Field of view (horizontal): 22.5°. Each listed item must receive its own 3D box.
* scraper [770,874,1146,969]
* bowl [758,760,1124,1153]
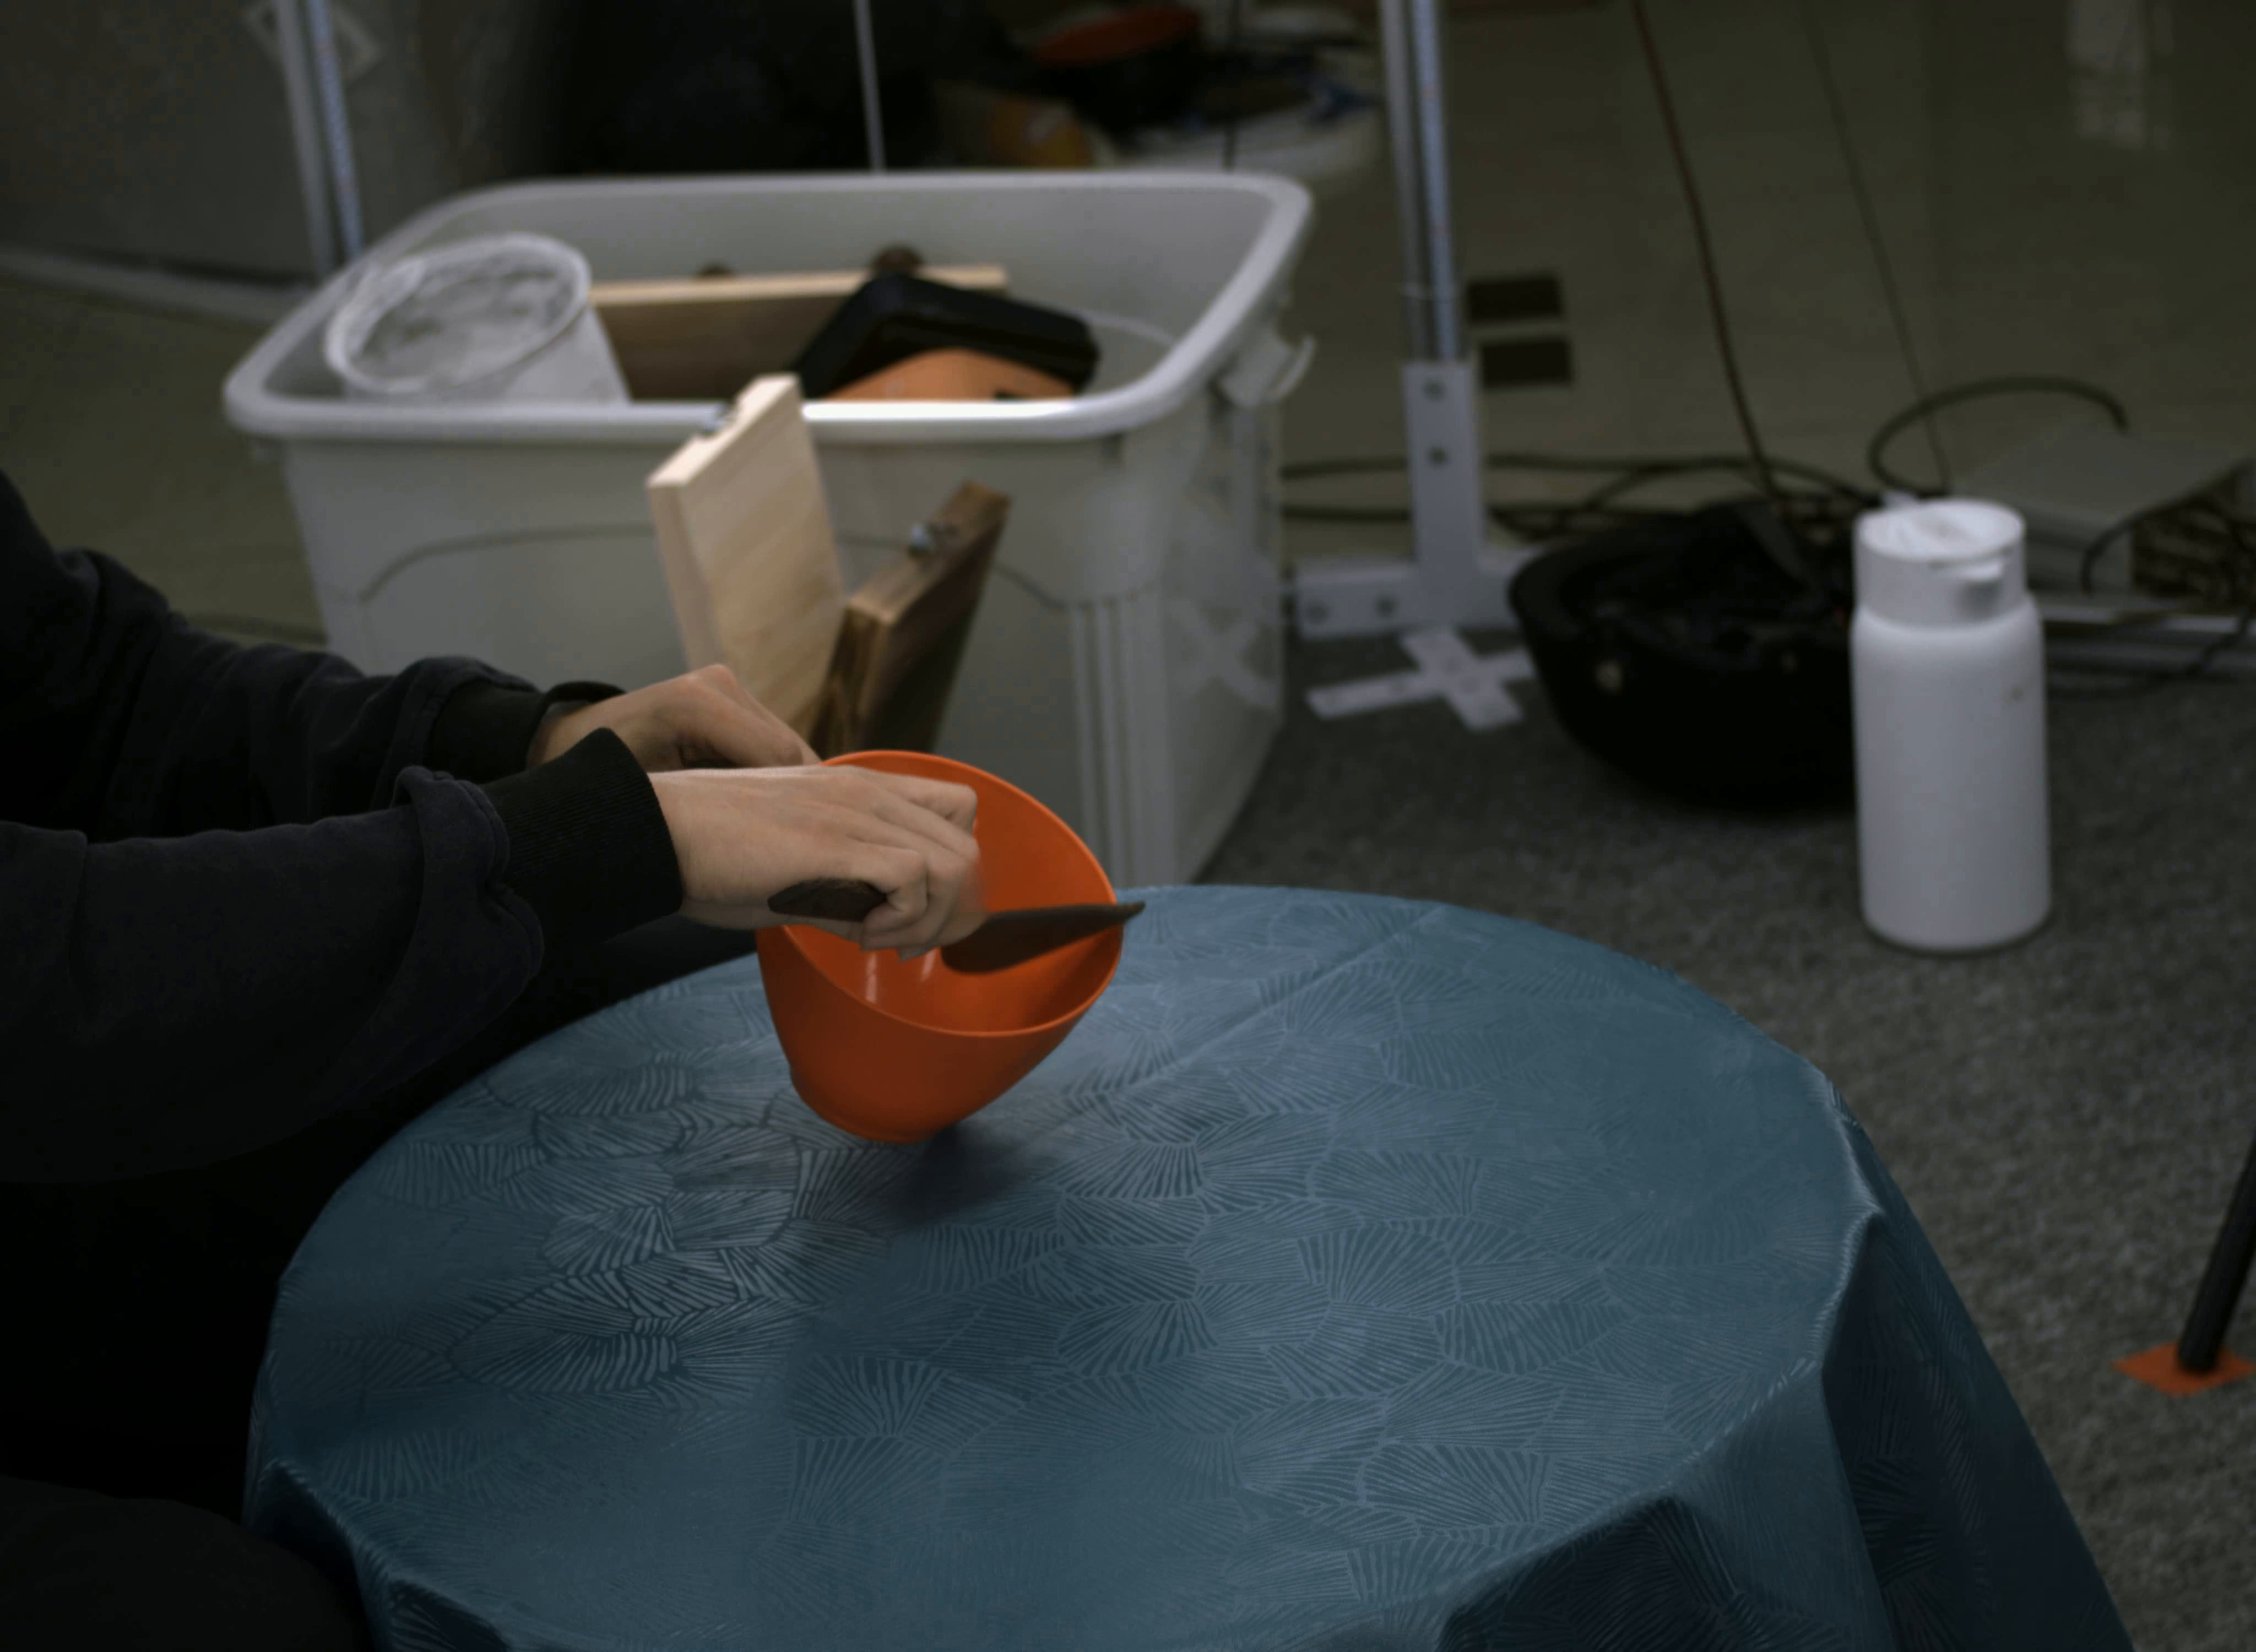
[{"bbox_3d":[-0.069,0.033,2.118,0.076,0.011,0.212,-24,-16,25],"label":"scraper"},{"bbox_3d":[-0.084,0.060,2.200,0.148,0.106,0.145,16,33,-11],"label":"bowl"}]
